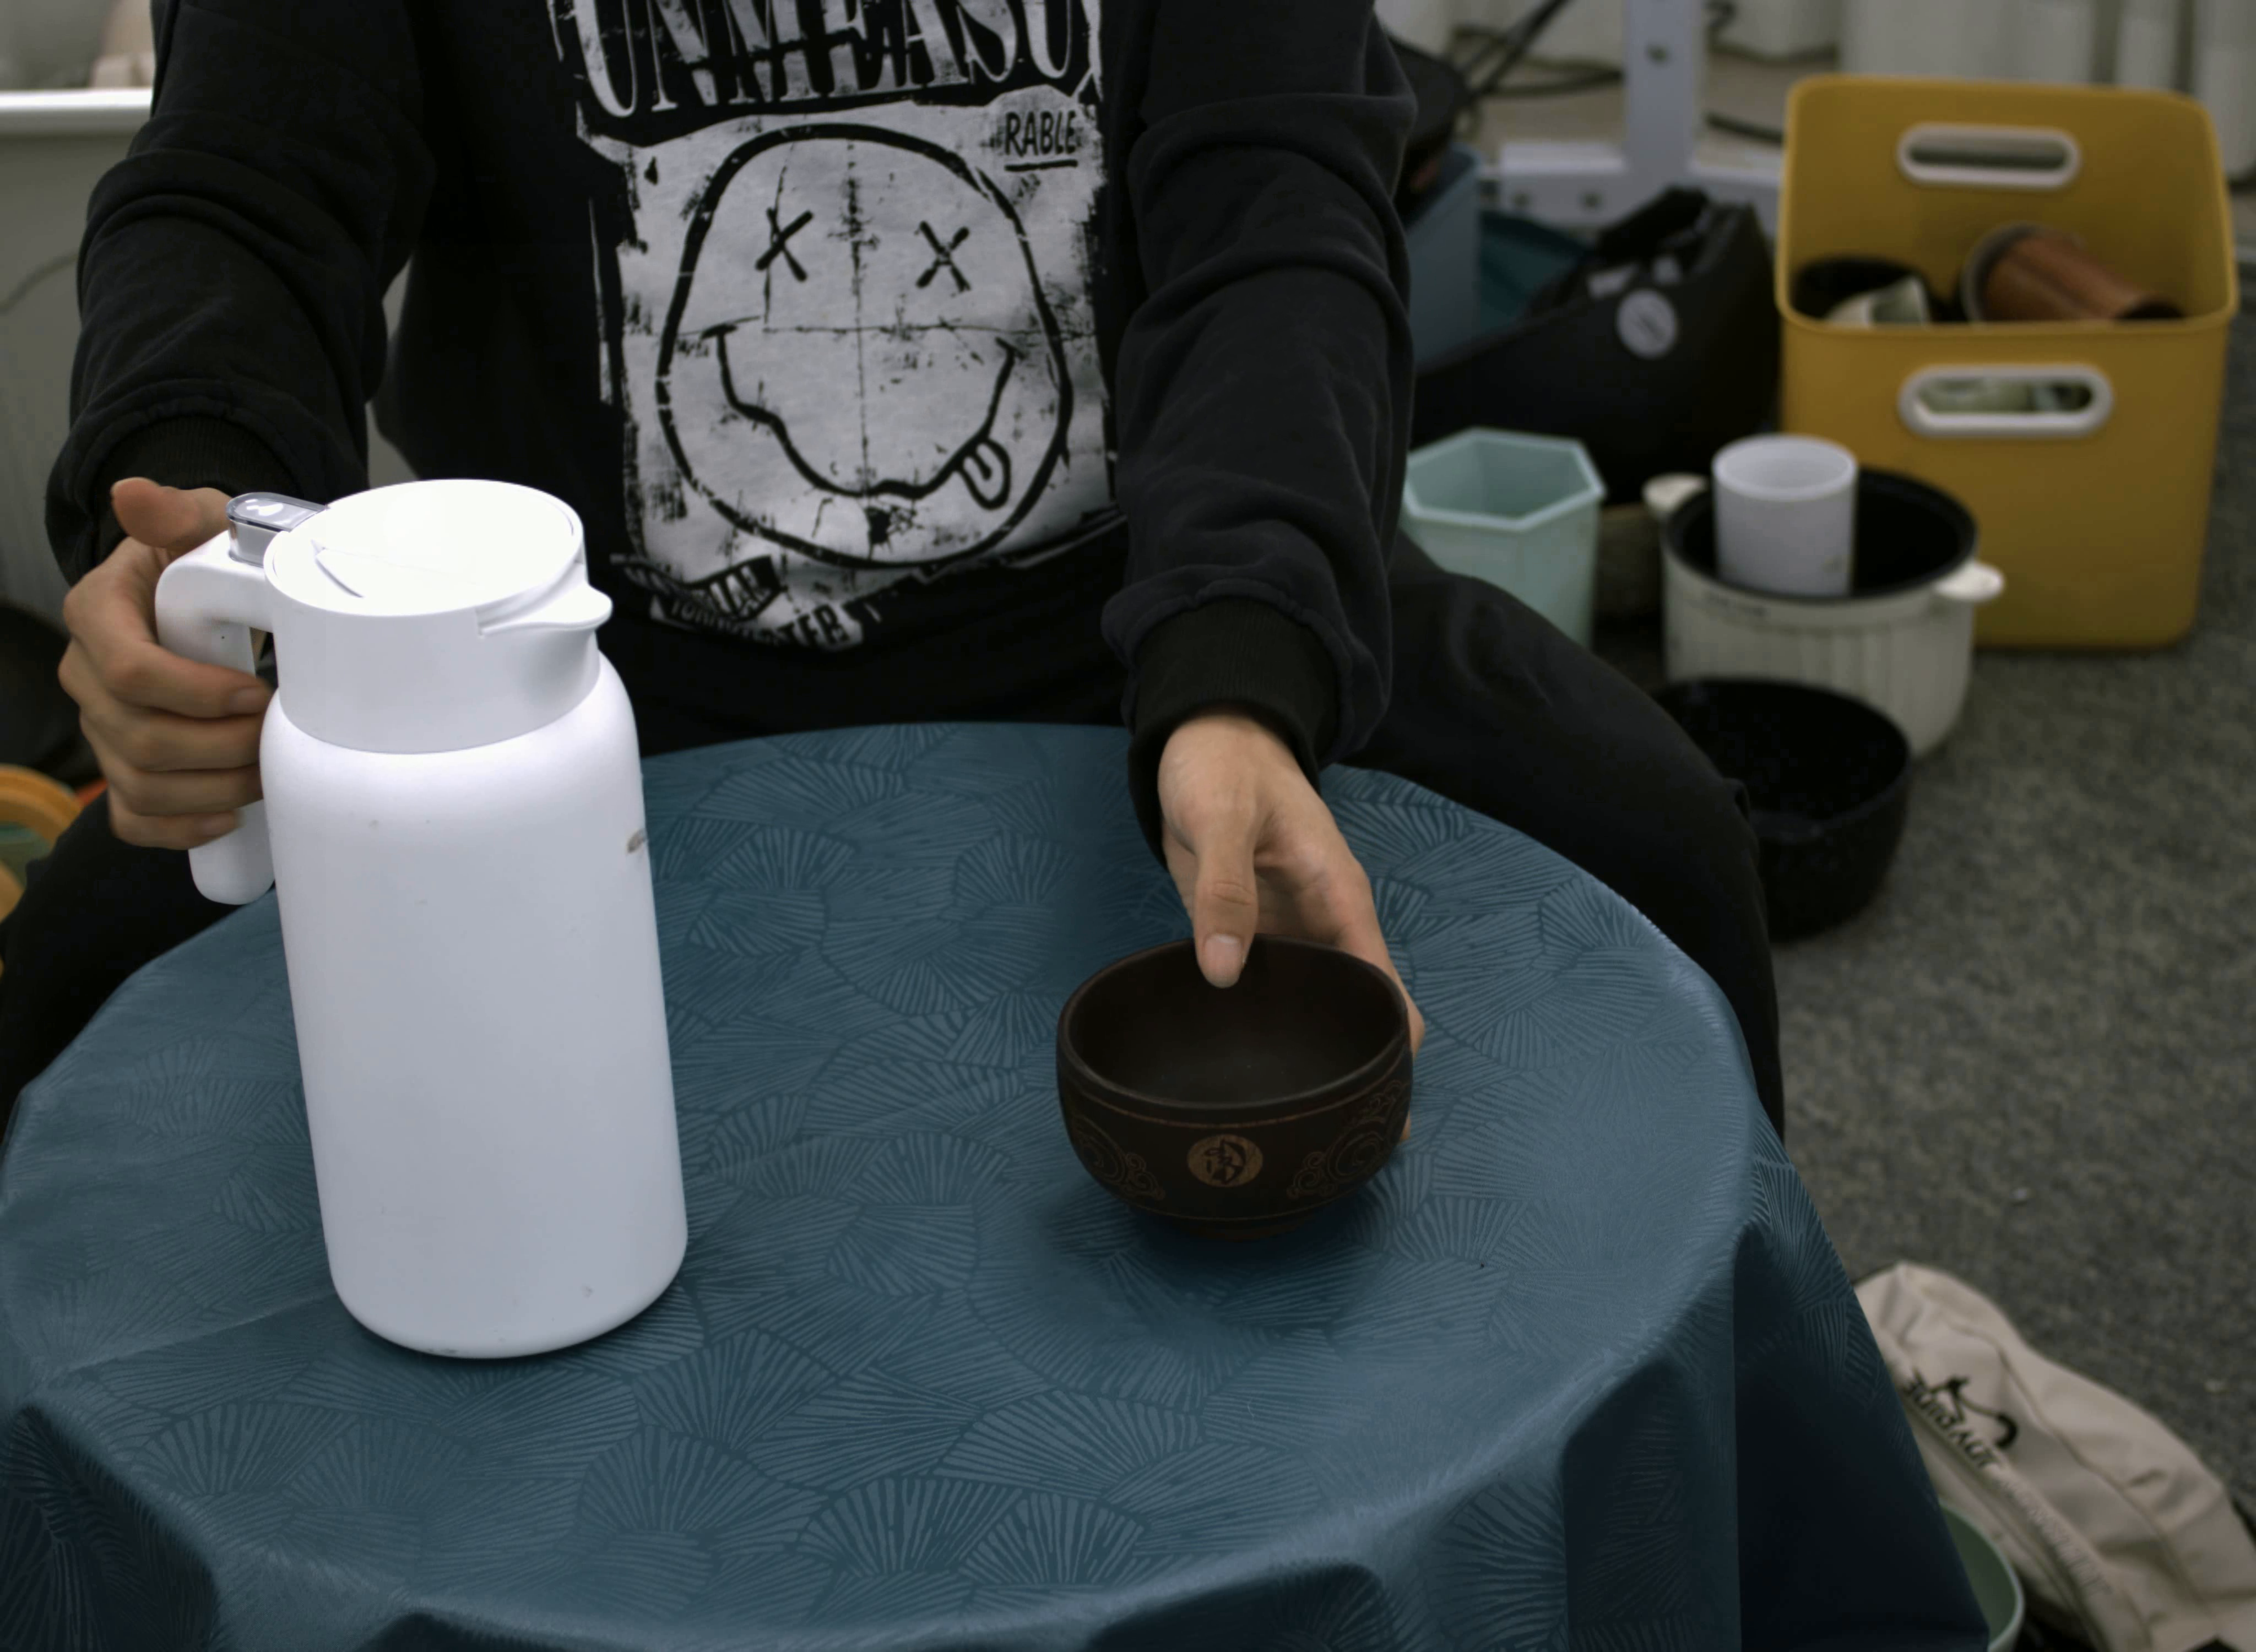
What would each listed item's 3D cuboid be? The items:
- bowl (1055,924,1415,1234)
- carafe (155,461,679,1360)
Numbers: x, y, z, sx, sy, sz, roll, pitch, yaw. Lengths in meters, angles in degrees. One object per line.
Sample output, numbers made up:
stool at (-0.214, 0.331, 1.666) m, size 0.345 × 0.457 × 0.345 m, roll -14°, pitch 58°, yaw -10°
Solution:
bowl at (0.036, 0.090, 1.837) m, size 0.117 × 0.069 × 0.120 m, roll -3°, pitch 27°, yaw 2°
carafe at (-0.224, 0.026, 1.779) m, size 0.172 × 0.266 × 0.126 m, roll 12°, pitch 32°, yaw 28°
